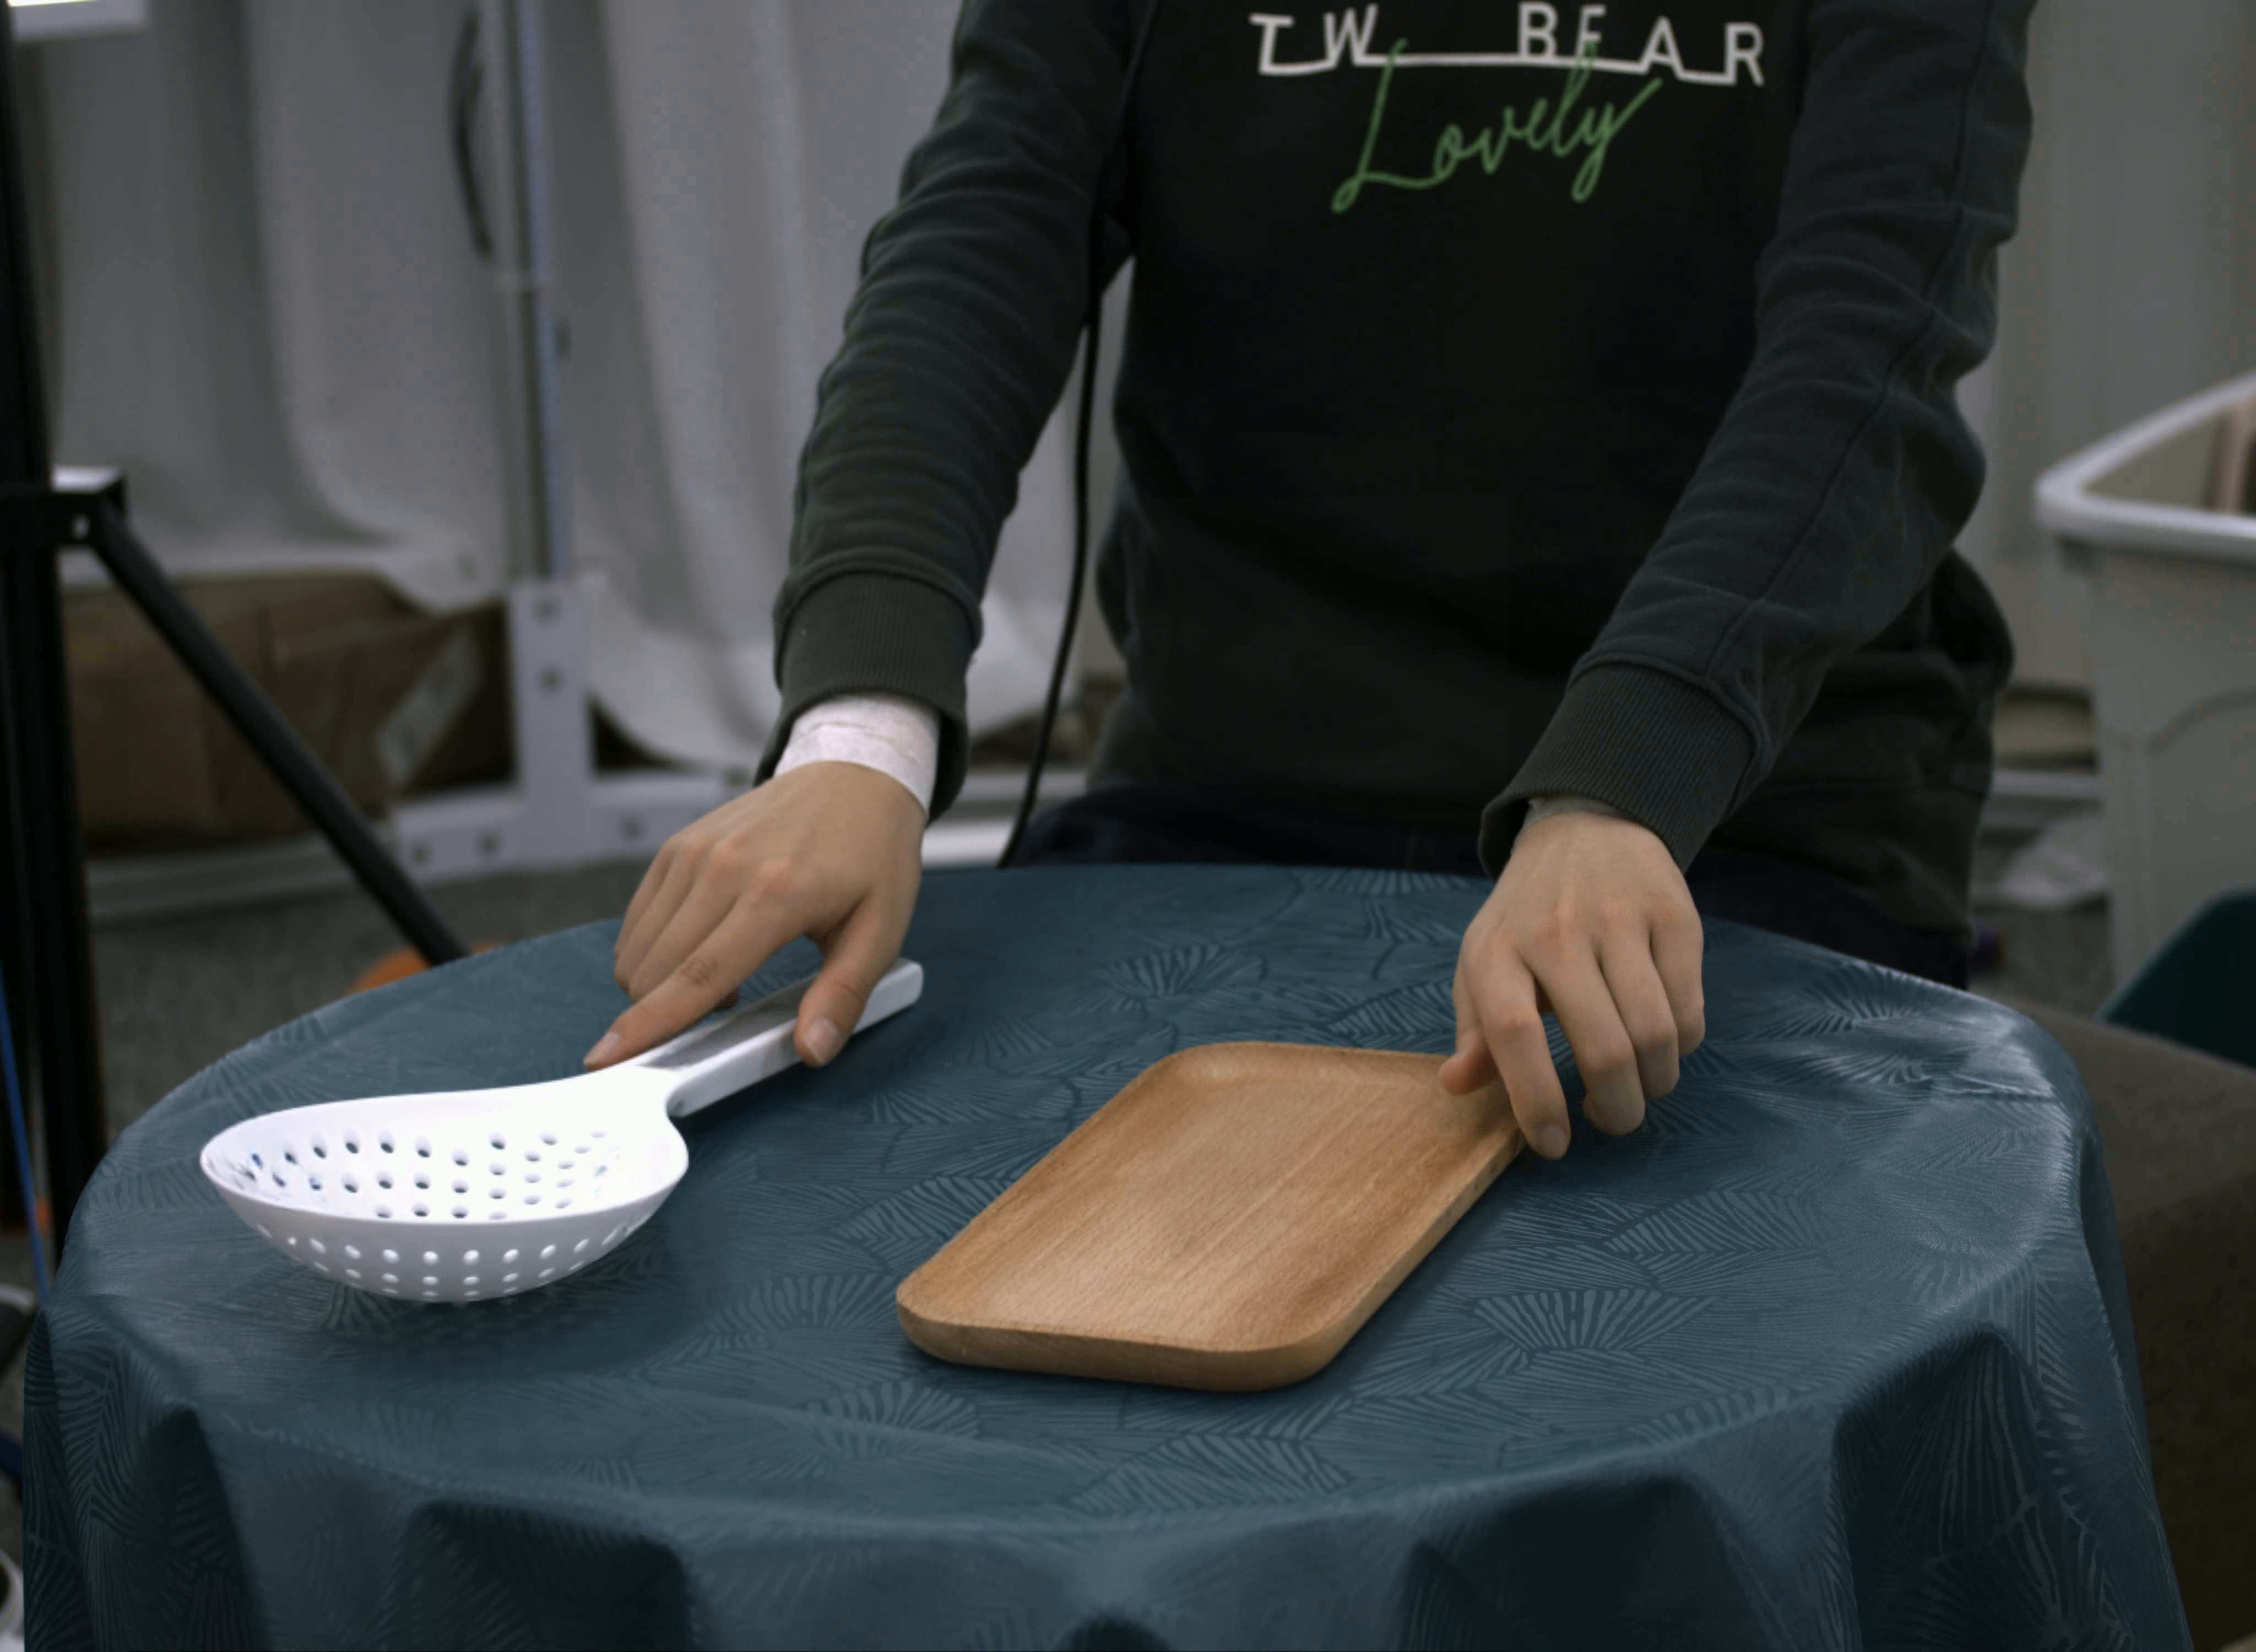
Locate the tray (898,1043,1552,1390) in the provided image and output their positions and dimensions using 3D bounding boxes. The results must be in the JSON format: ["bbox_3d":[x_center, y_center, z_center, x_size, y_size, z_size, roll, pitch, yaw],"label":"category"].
[{"bbox_3d":[0.033,0.109,1.520,0.132,0.023,0.247,6,17,21],"label":"tray"}]

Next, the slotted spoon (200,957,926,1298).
[{"bbox_3d":[-0.148,0.081,1.596,0.138,0.046,0.344,8,18,24],"label":"slotted spoon"}]
